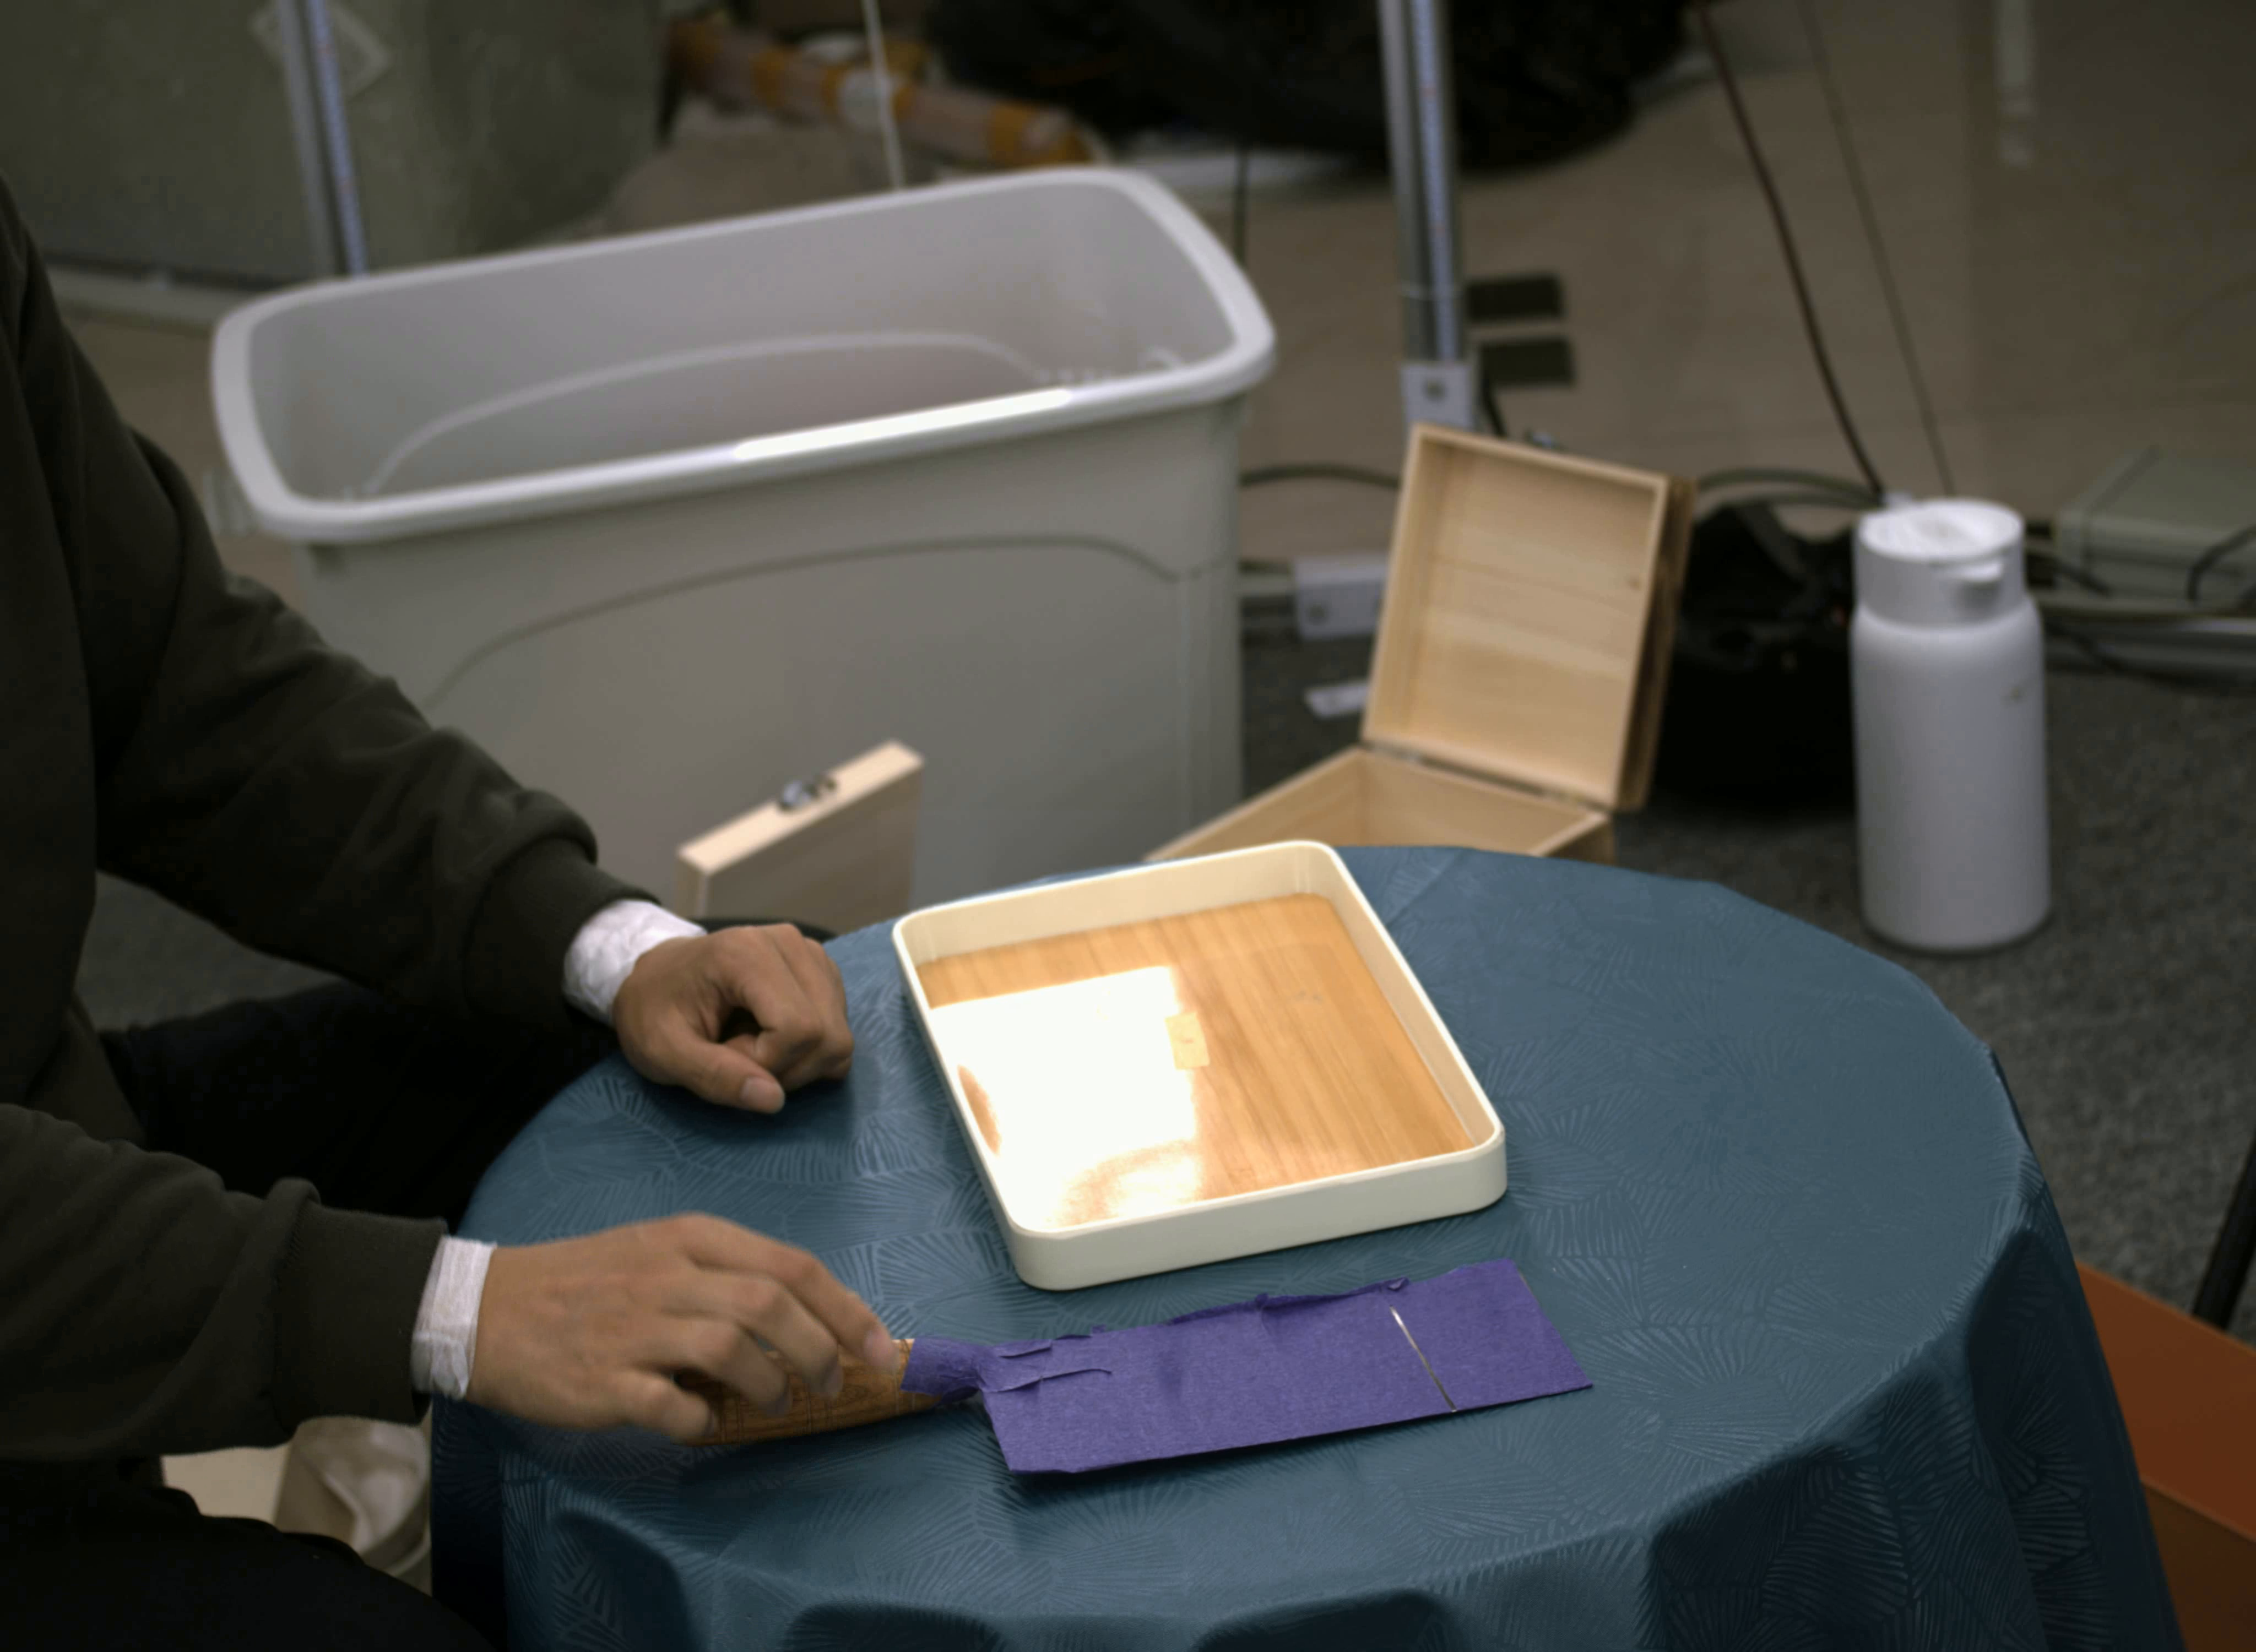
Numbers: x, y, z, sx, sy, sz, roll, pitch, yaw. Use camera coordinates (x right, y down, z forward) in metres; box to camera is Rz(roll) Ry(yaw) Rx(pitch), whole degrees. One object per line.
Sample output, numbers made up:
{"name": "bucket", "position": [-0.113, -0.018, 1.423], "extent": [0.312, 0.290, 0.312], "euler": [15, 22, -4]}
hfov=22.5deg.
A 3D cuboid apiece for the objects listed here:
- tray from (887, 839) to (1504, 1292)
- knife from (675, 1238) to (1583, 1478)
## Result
{"name": "tray", "position": [0.021, 0.089, 2.222], "extent": [0.191, 0.028, 0.296], "euler": [-11, 25, -8]}
{"name": "knife", "position": [0.001, 0.194, 1.999], "extent": [0.314, 0.033, 0.102], "euler": [-10, 25, -10]}
